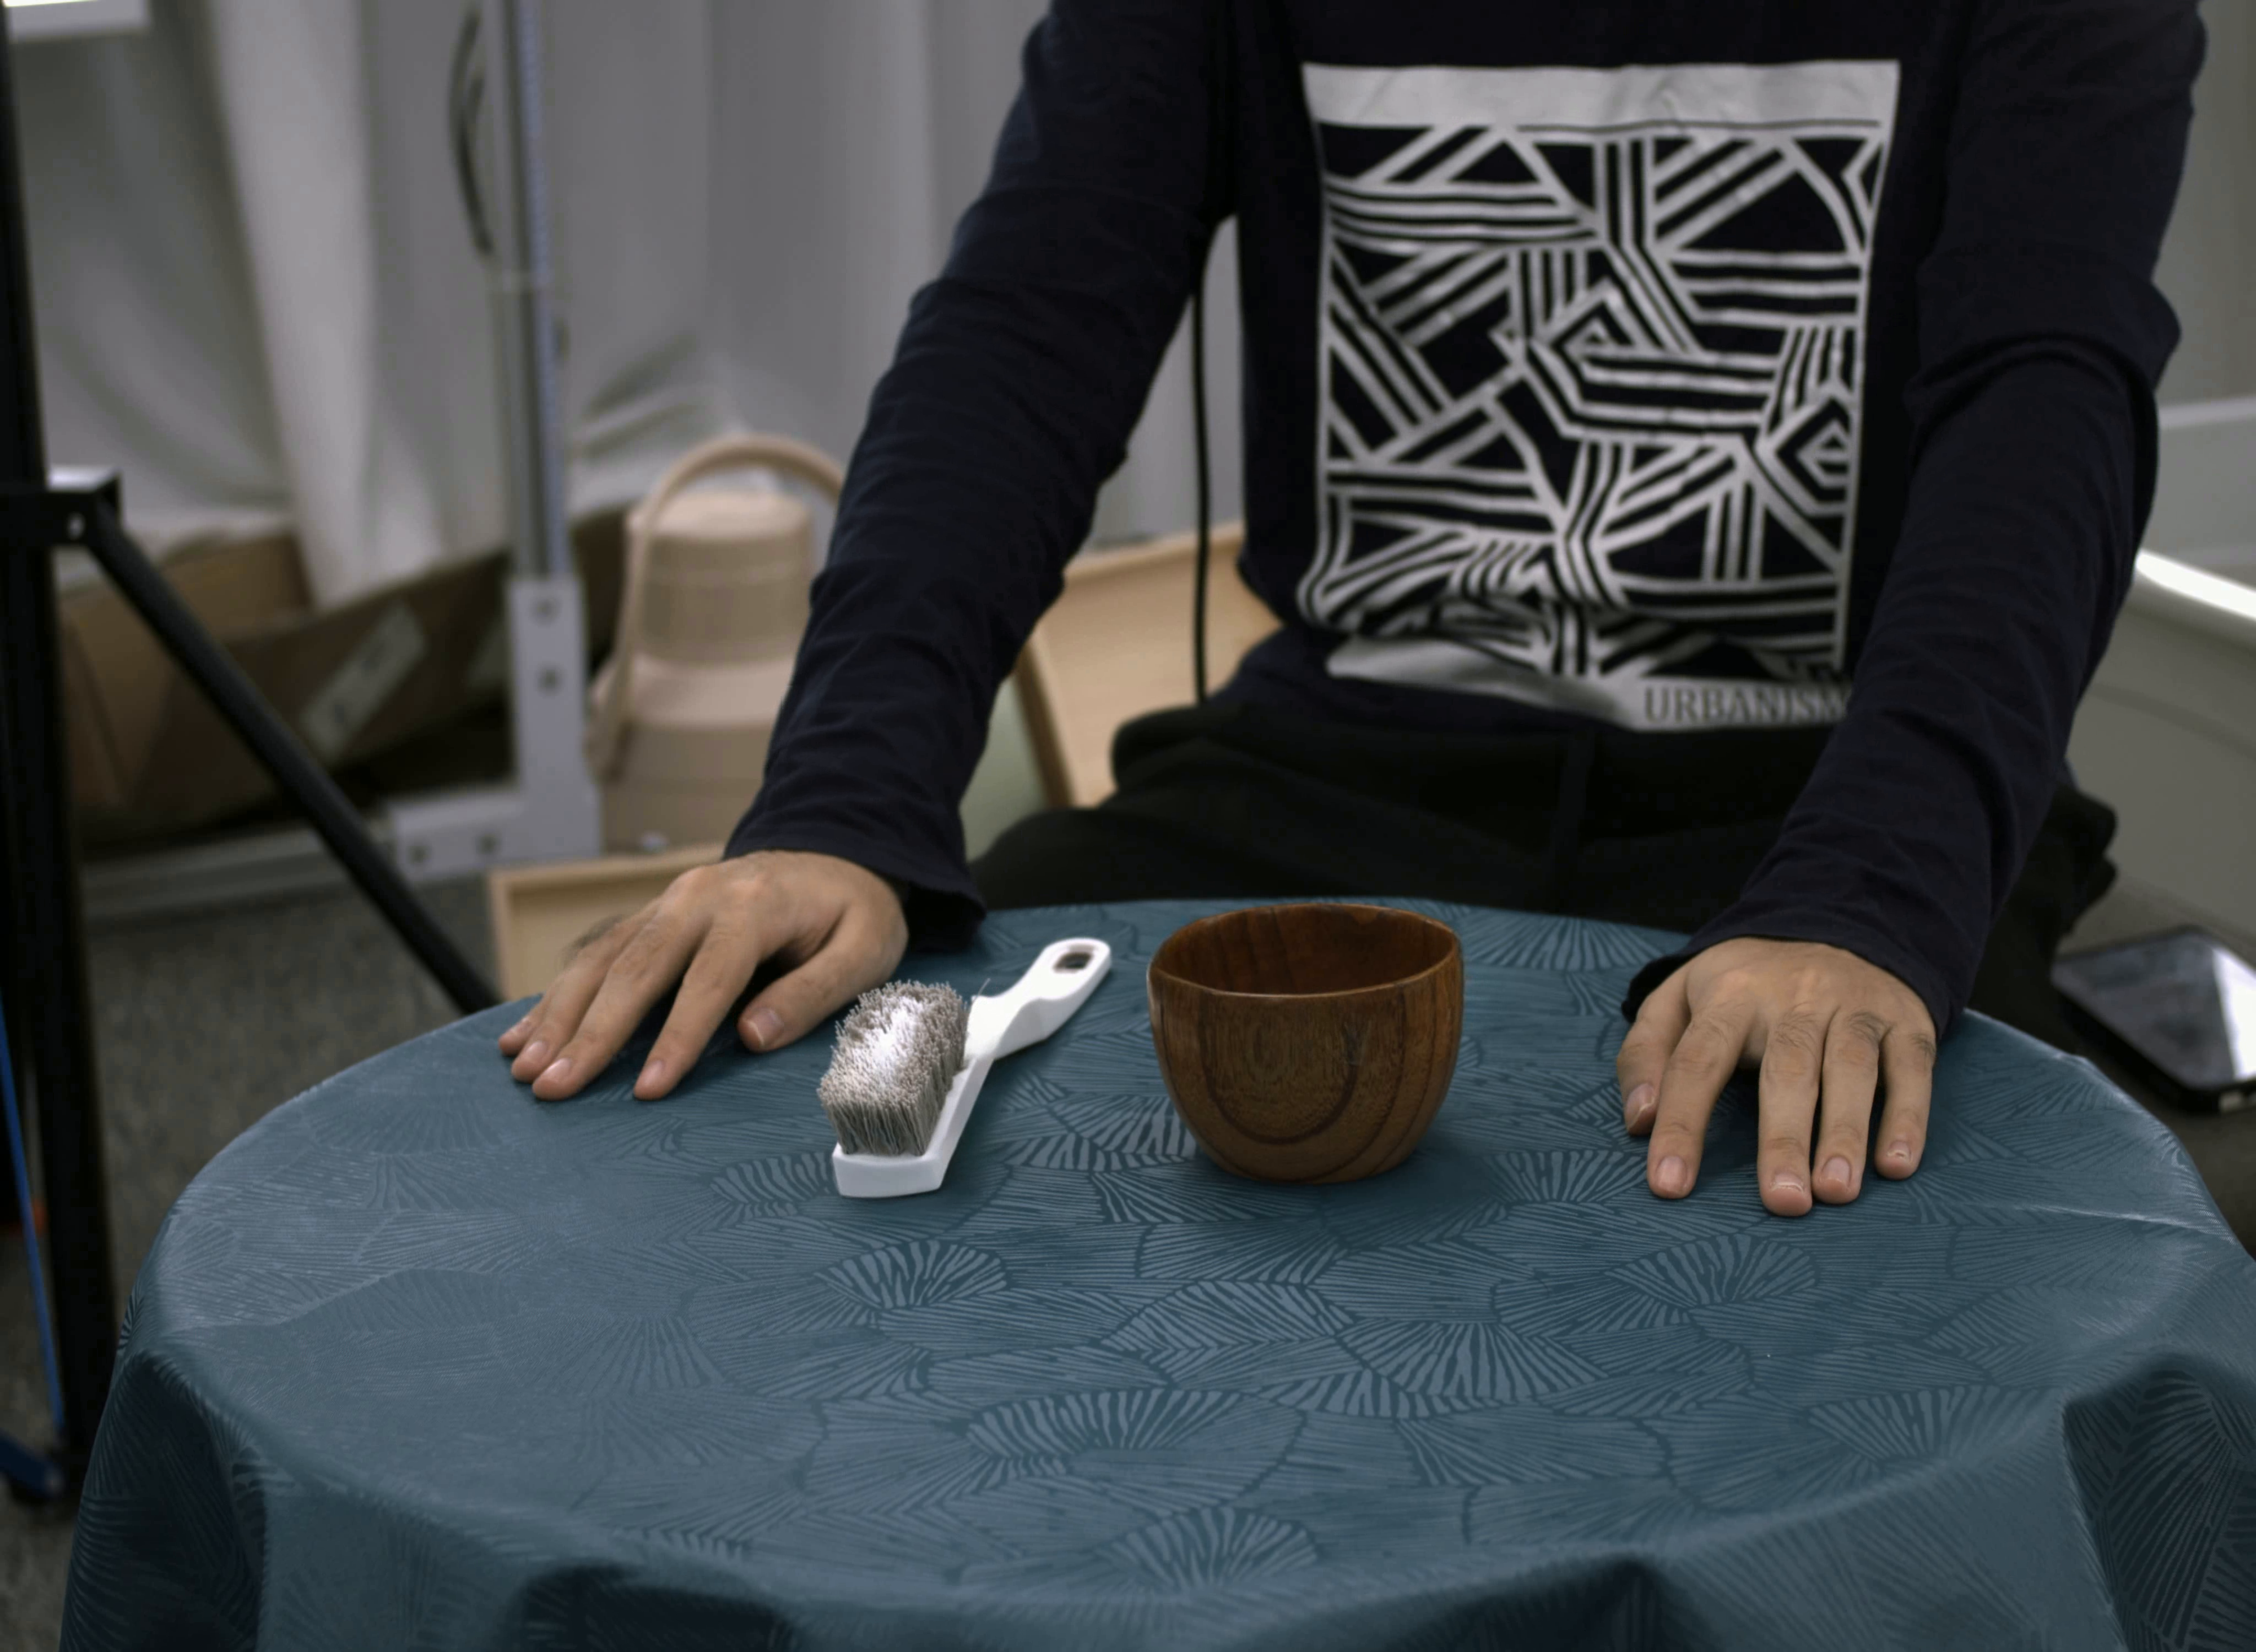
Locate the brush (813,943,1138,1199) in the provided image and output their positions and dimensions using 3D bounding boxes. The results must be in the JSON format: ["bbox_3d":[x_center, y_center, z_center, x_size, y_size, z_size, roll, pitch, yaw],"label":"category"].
[{"bbox_3d":[-0.043,0.056,1.662,0.035,0.050,0.241,-3,15,19],"label":"brush"}]

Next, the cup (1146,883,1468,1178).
[{"bbox_3d":[0.060,0.060,1.591,0.097,0.067,0.118,3,19,25],"label":"cup"}]
